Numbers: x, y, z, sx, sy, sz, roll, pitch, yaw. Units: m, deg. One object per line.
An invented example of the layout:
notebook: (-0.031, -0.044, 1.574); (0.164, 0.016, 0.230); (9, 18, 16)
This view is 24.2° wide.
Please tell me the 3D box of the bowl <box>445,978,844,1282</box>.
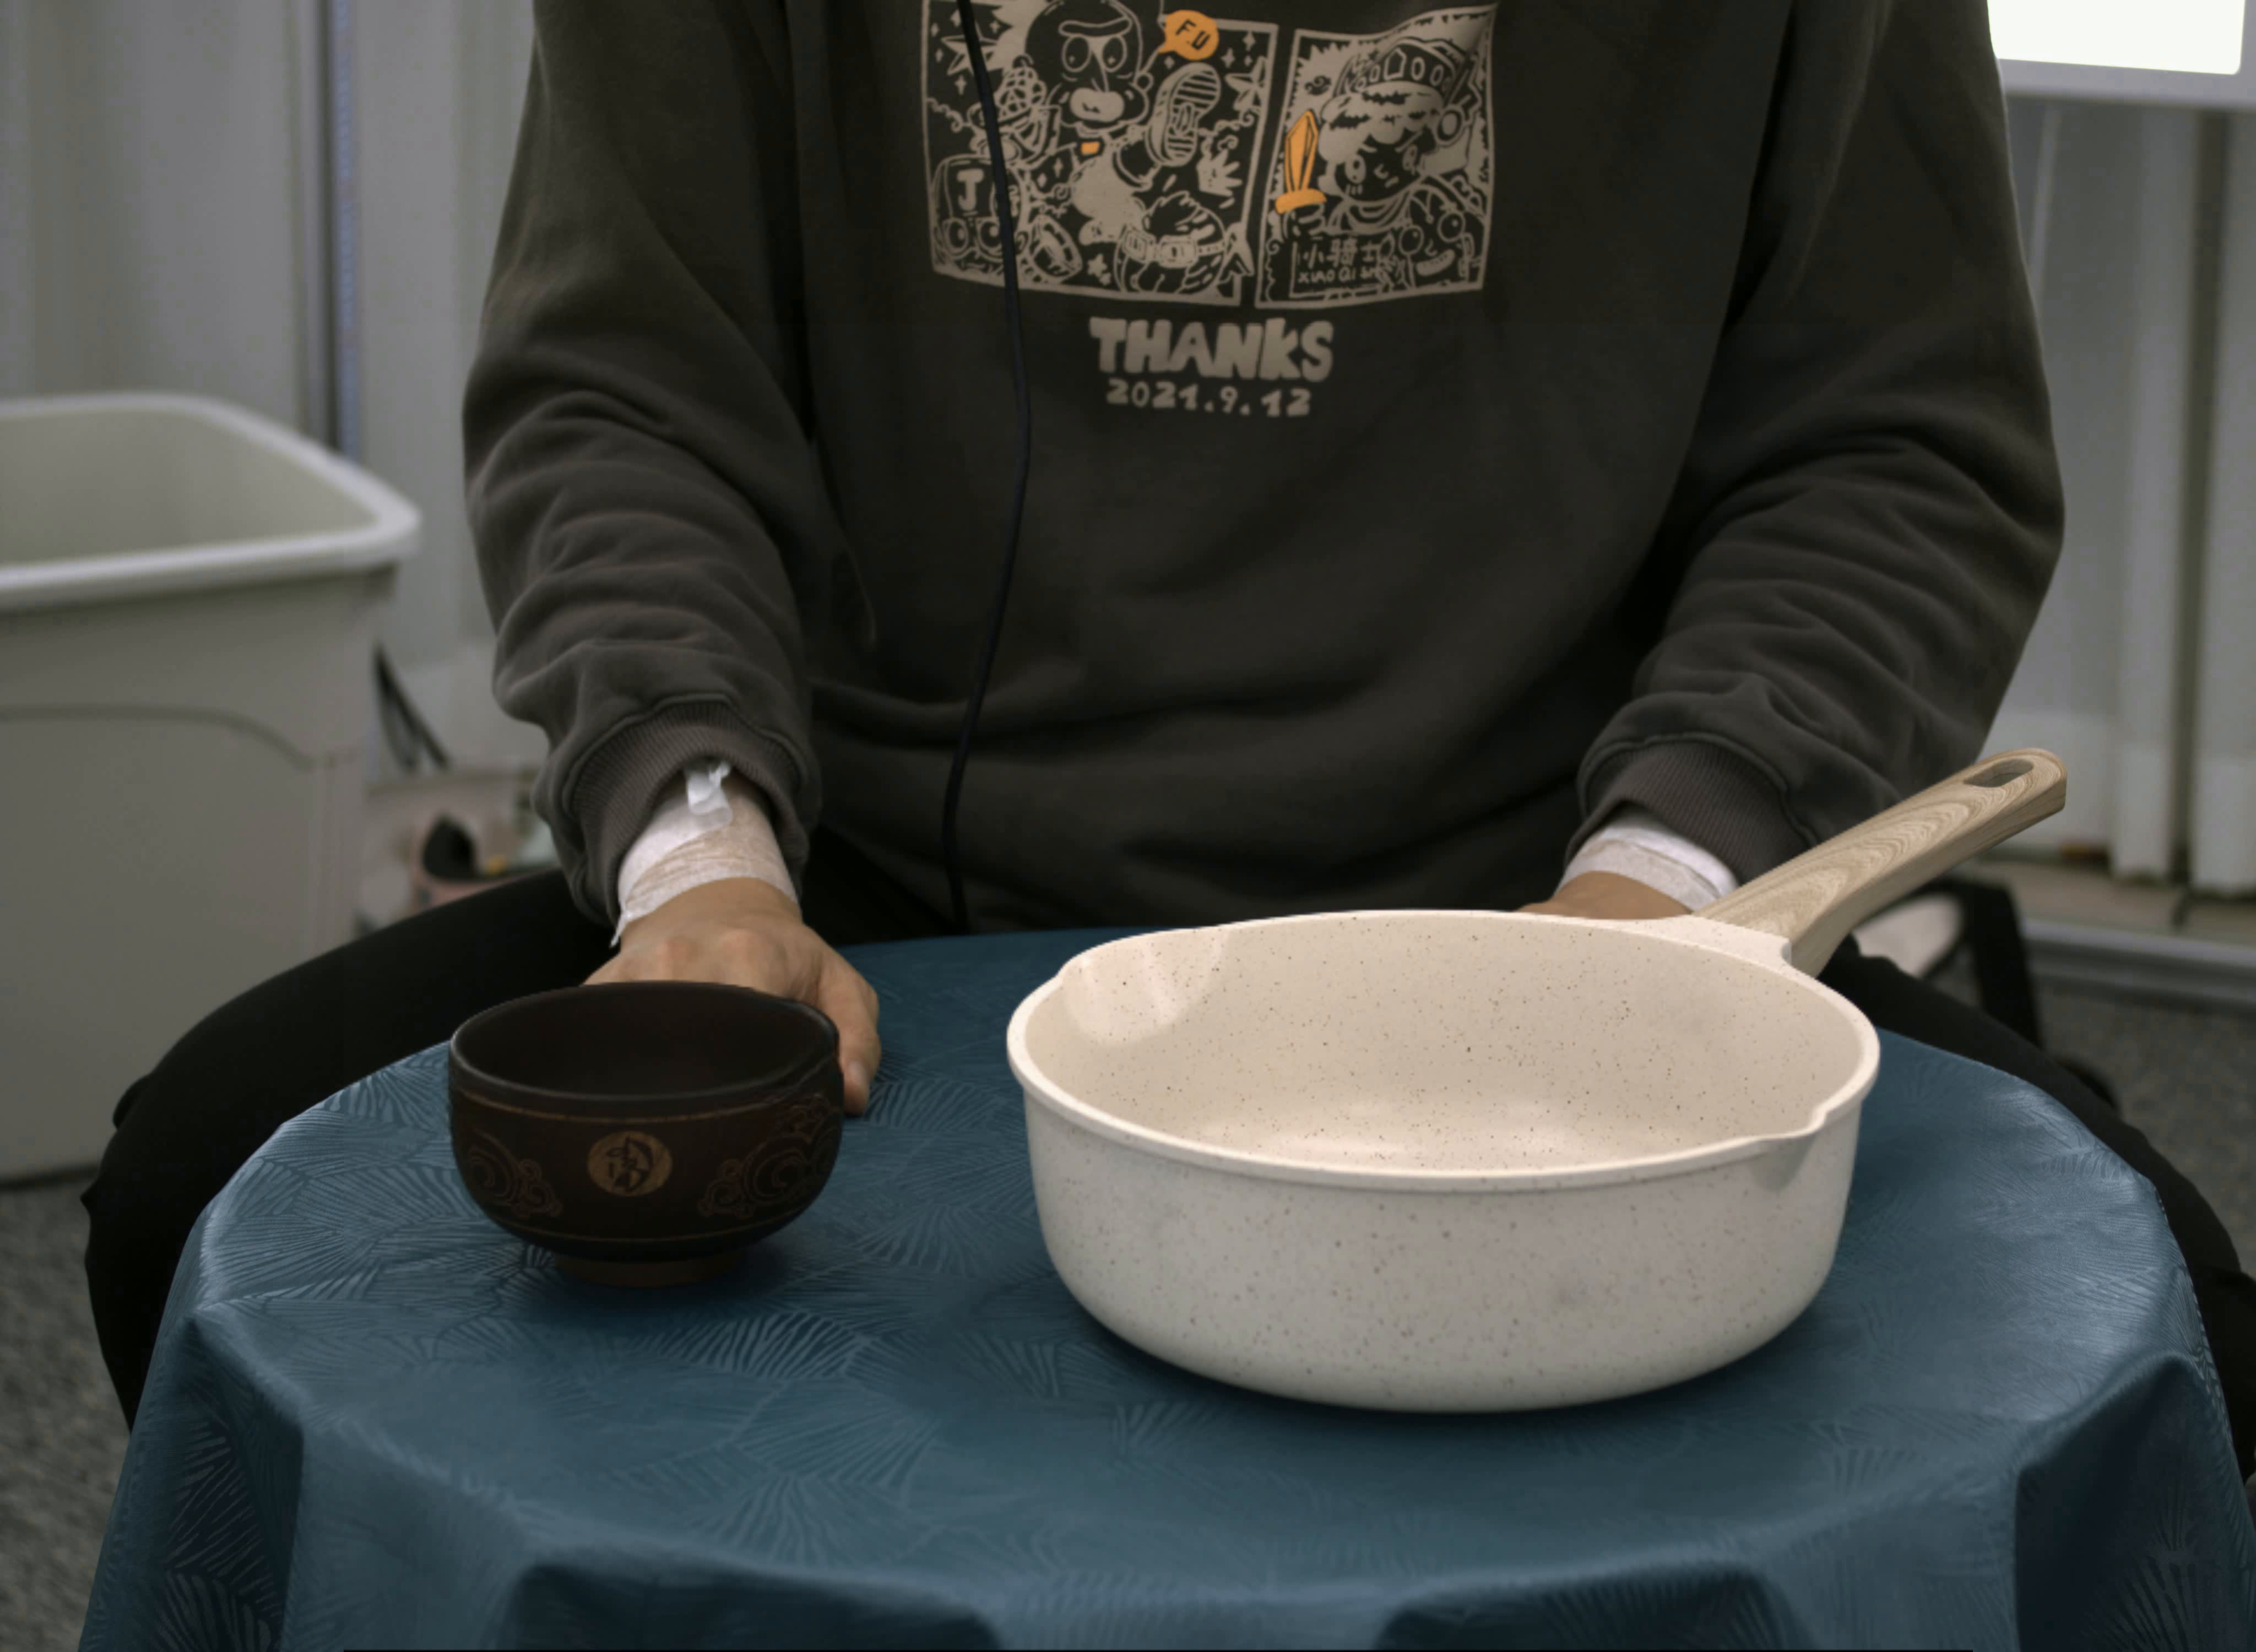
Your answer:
bowl: (-0.143, 0.093, 1.559); (0.117, 0.070, 0.117); (0, 14, 1)

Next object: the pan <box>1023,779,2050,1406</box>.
pan: (0.156, 0.074, 1.592); (0.260, 0.103, 0.437); (11, 18, 40)
